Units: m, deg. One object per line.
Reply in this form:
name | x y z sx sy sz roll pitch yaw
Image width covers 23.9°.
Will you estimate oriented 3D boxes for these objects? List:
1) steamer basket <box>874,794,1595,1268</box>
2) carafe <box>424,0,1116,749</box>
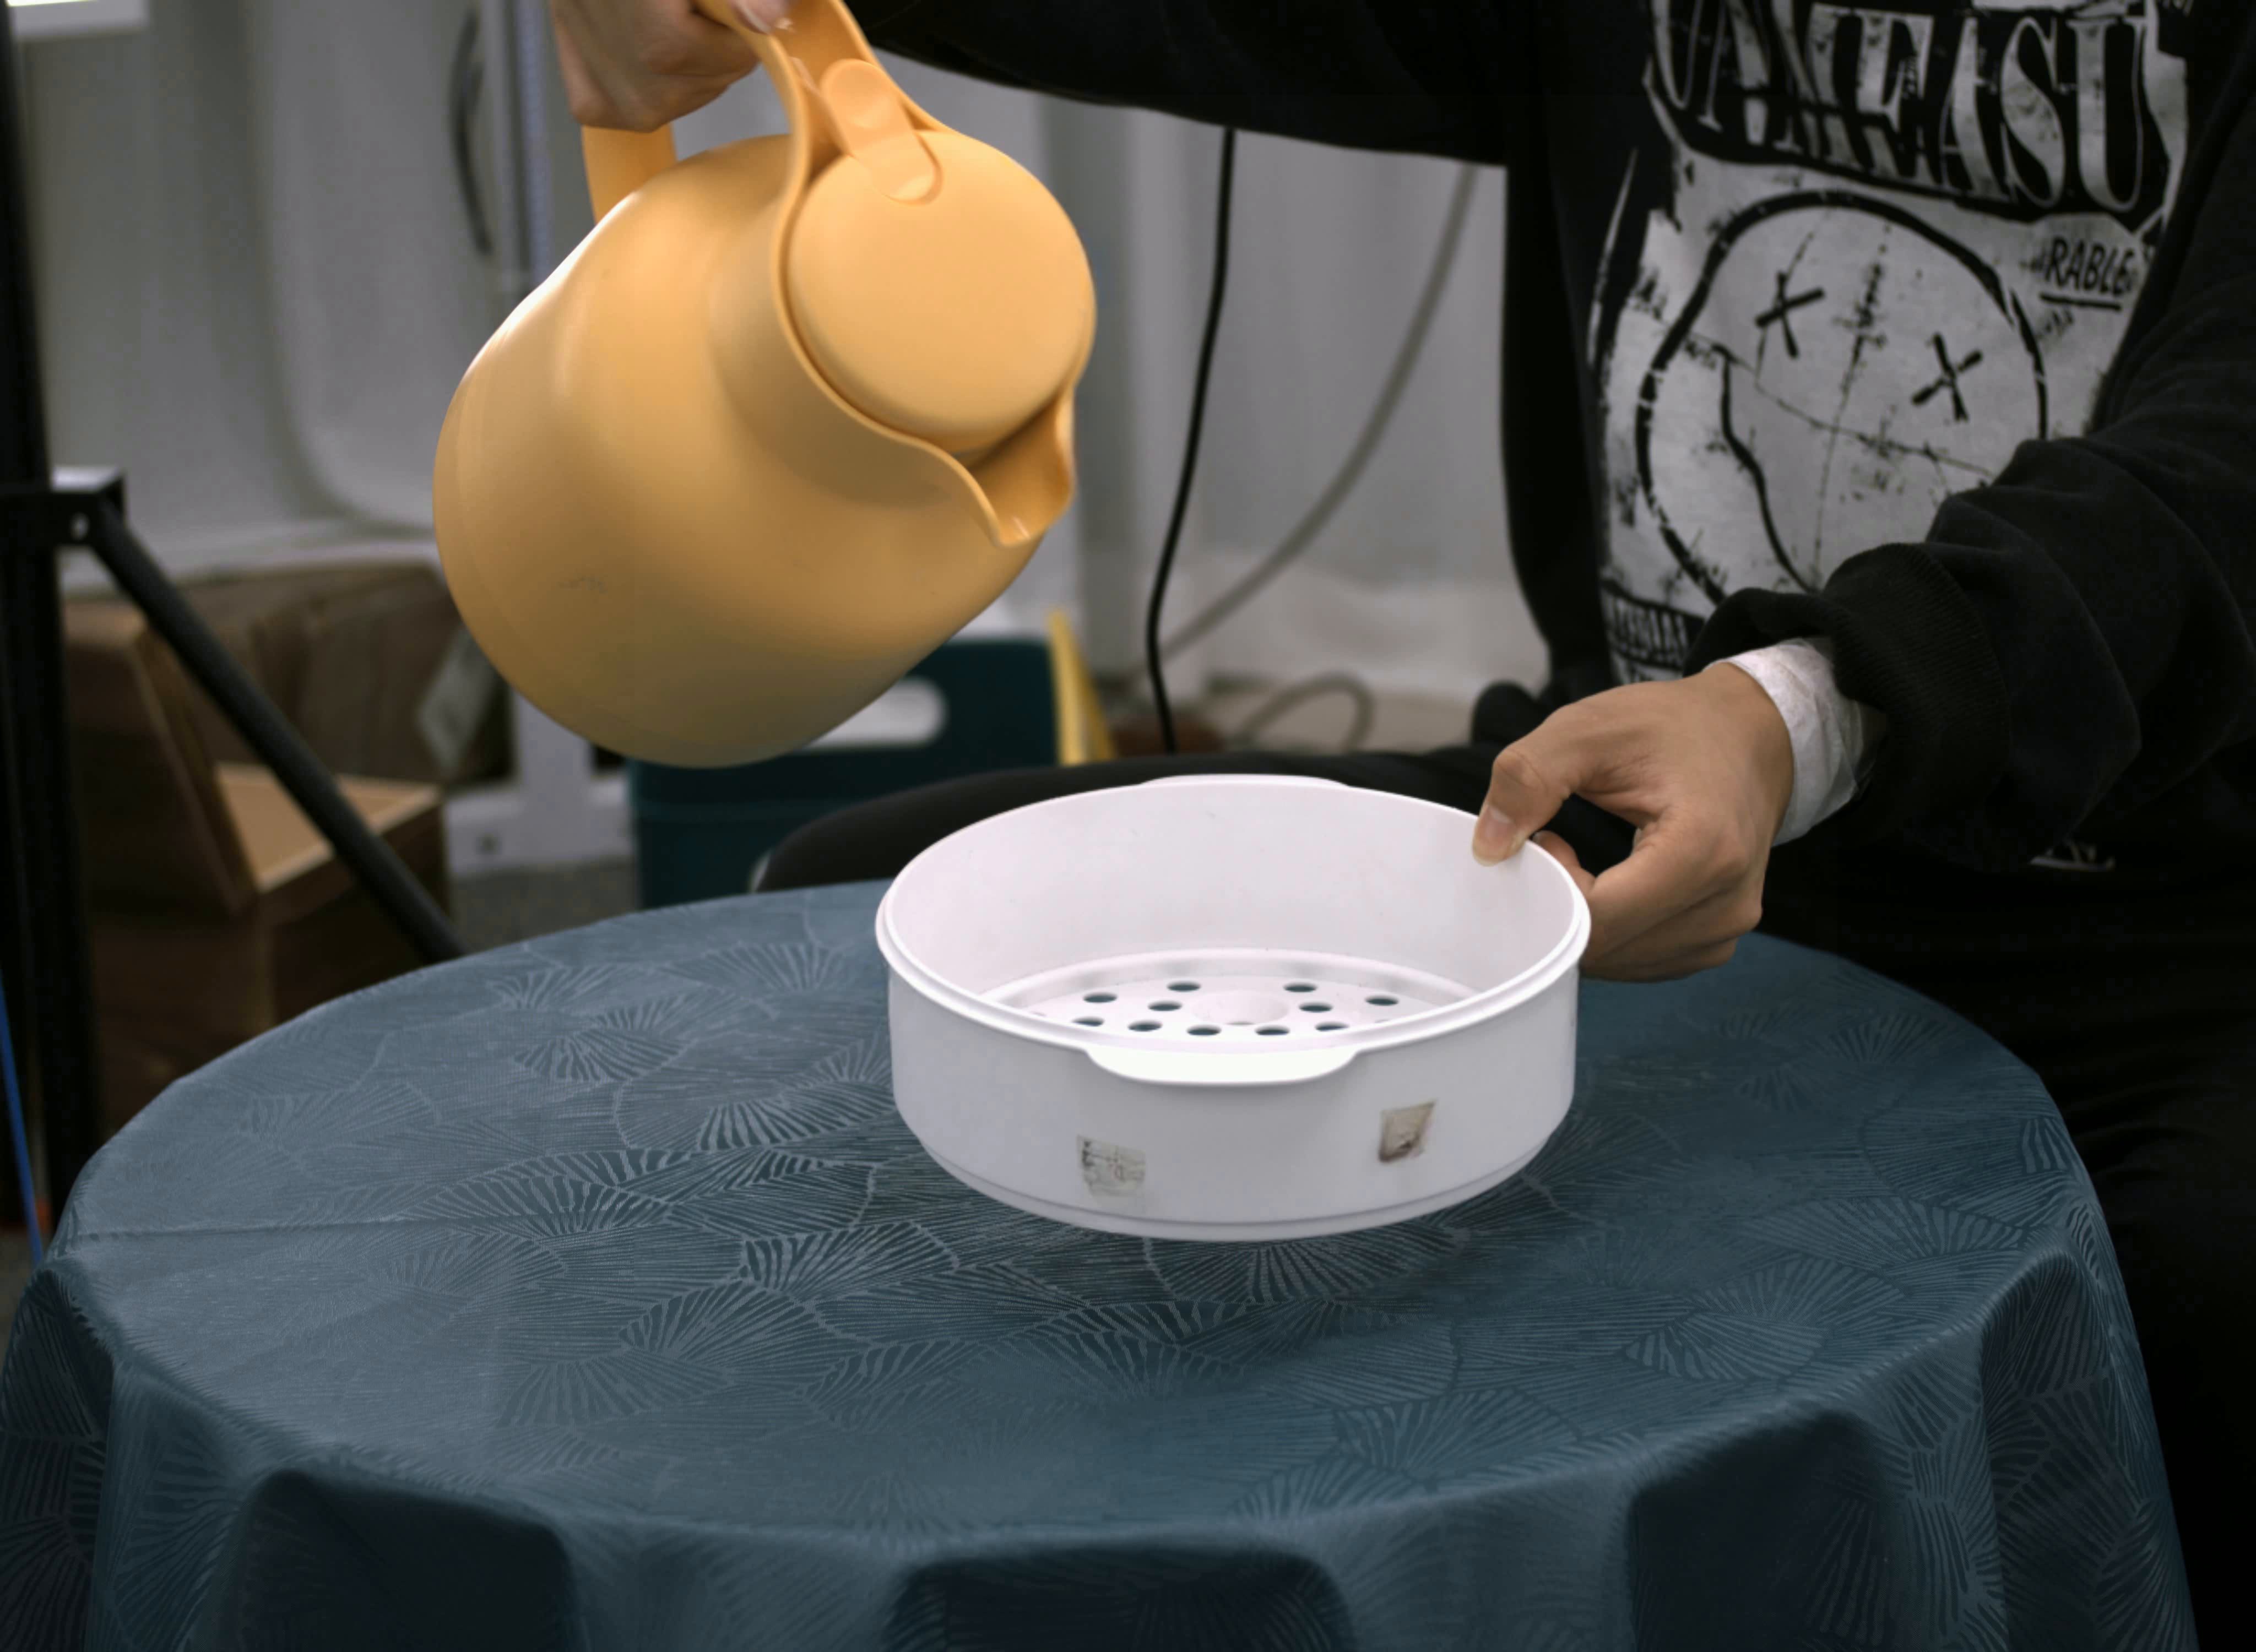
steamer basket | 0.030 0.057 1.492 0.202 0.069 0.231 -1 21 4
carafe | -0.103 -0.143 1.576 0.160 0.203 0.264 -18 -4 -30
